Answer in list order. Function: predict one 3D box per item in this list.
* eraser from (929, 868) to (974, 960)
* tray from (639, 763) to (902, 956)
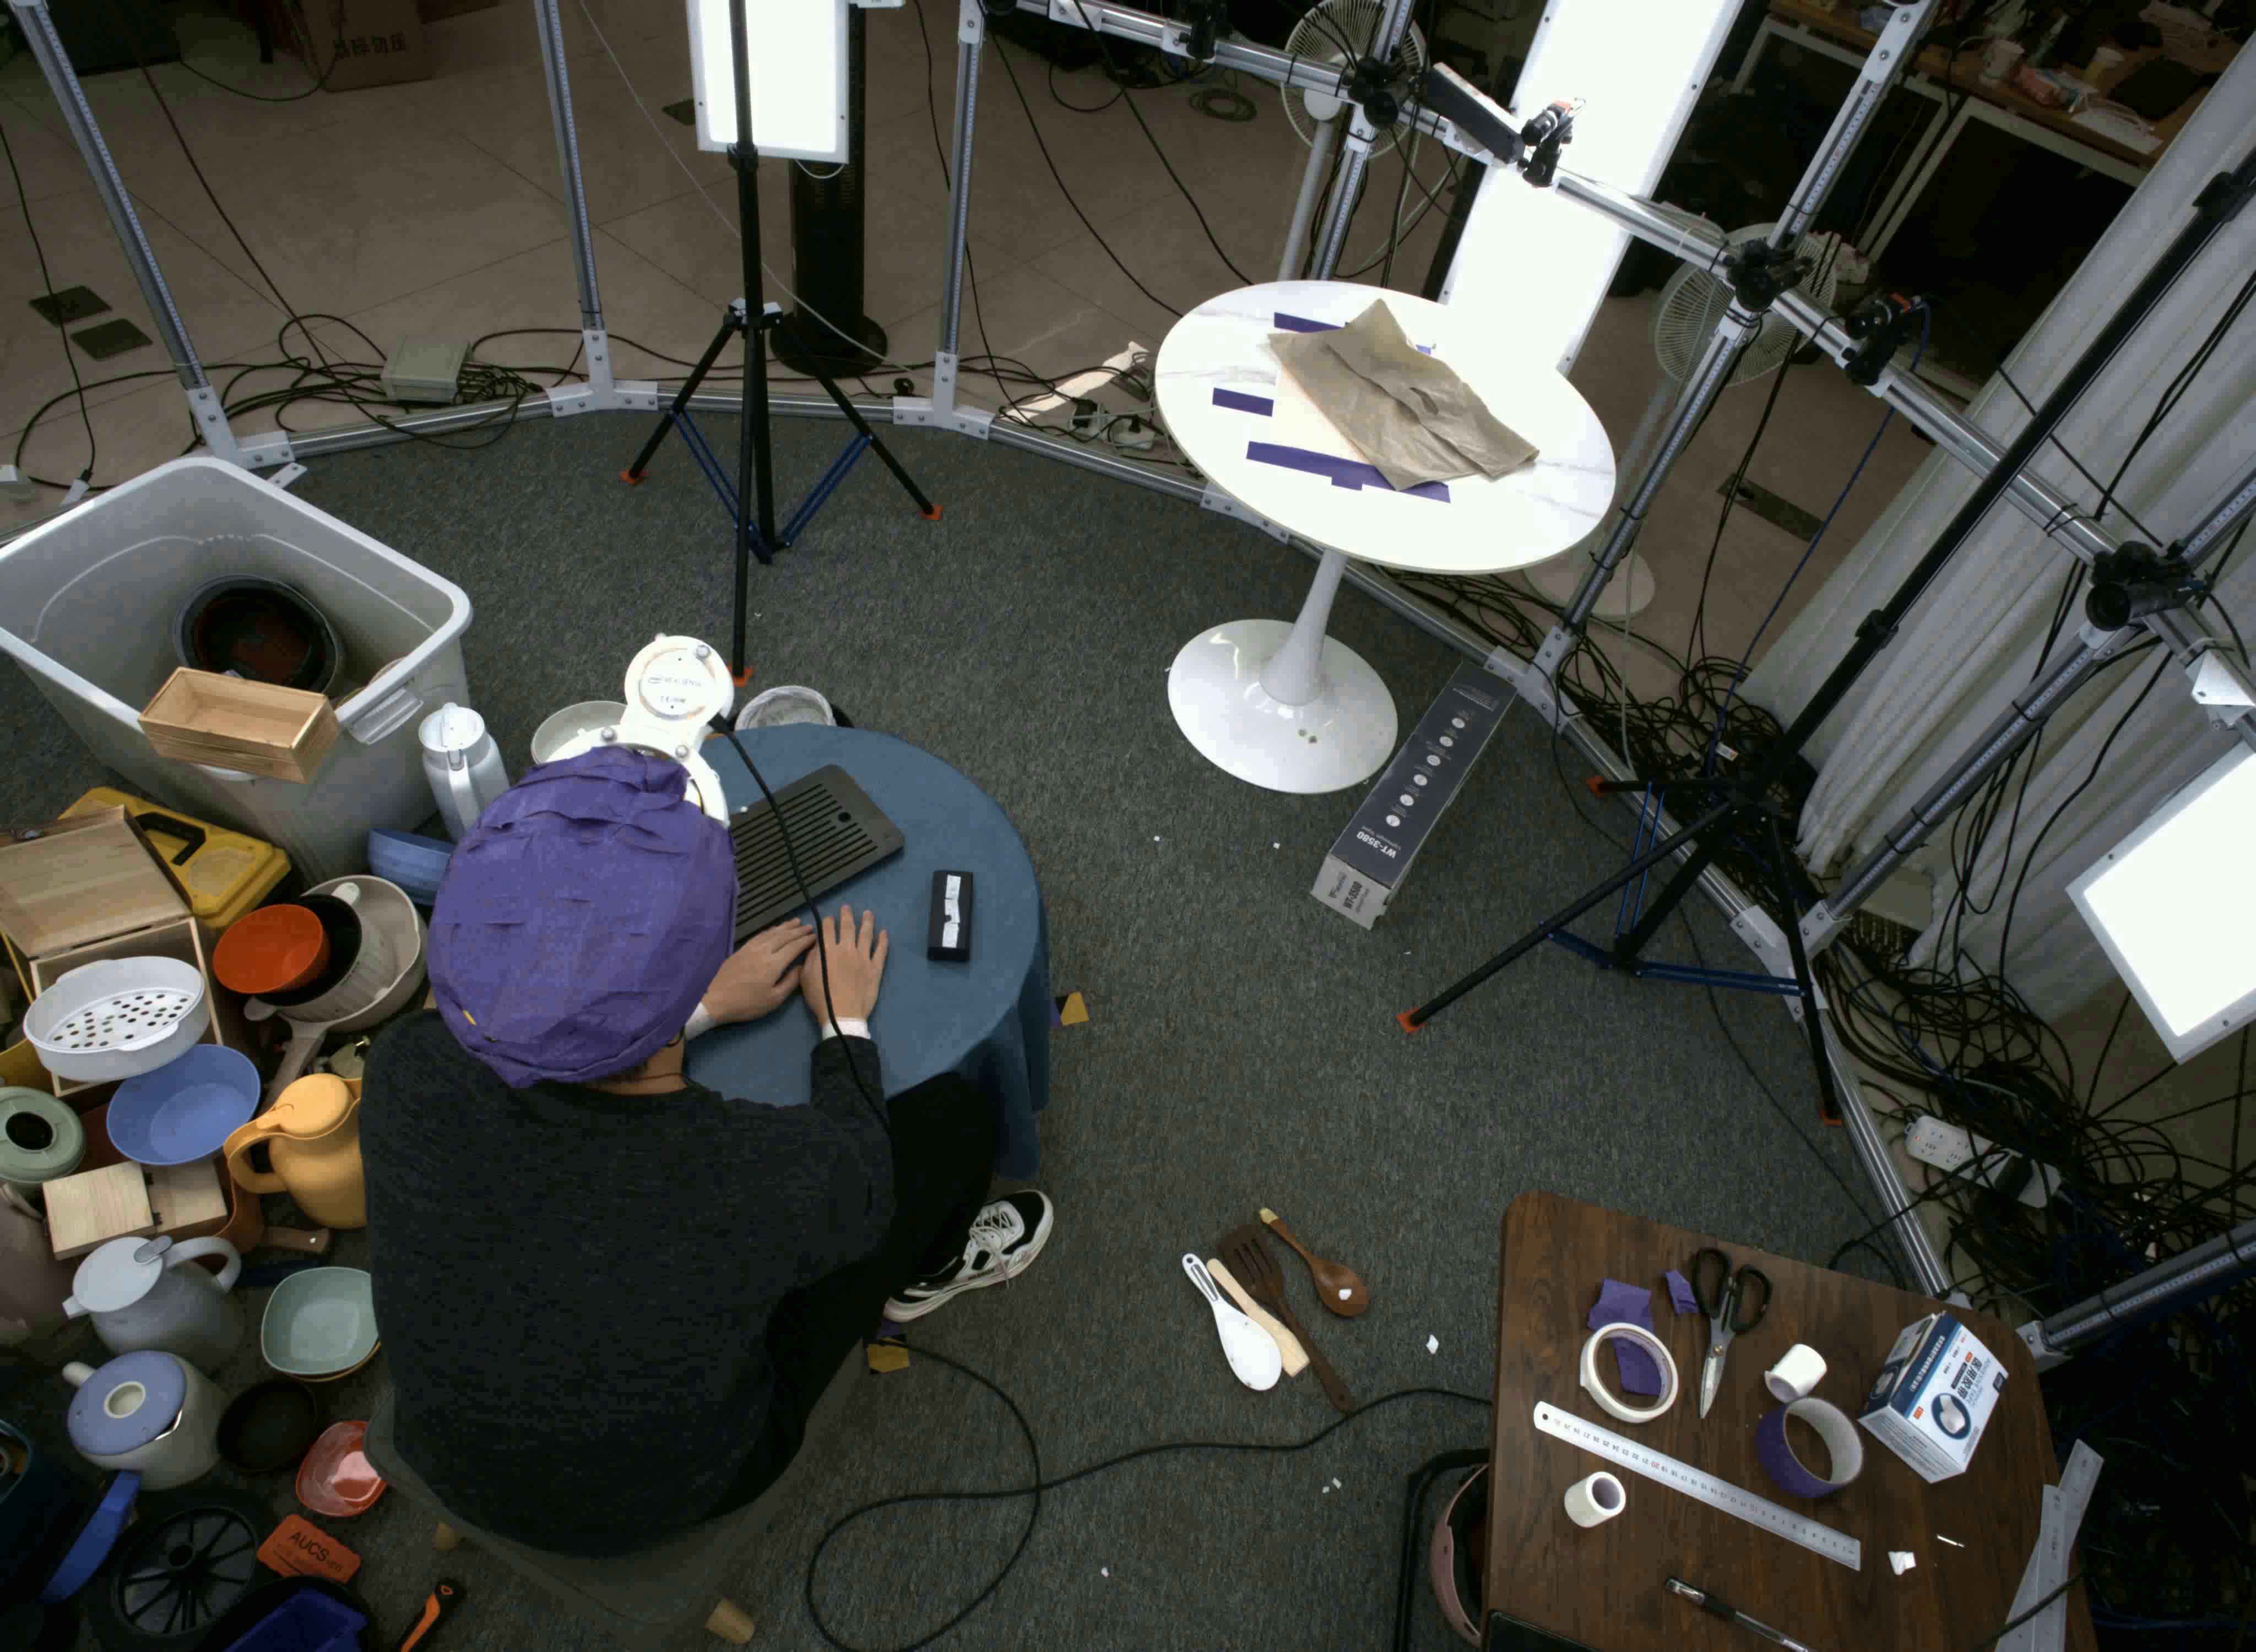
[{"bbox_3d":[-0.226,0.111,1.670,0.053,0.031,0.123,3,54,-9],"label":"eraser"},{"bbox_3d":[-0.458,0.037,1.671,0.307,0.019,0.166,-33,68,-32],"label":"tray"}]
